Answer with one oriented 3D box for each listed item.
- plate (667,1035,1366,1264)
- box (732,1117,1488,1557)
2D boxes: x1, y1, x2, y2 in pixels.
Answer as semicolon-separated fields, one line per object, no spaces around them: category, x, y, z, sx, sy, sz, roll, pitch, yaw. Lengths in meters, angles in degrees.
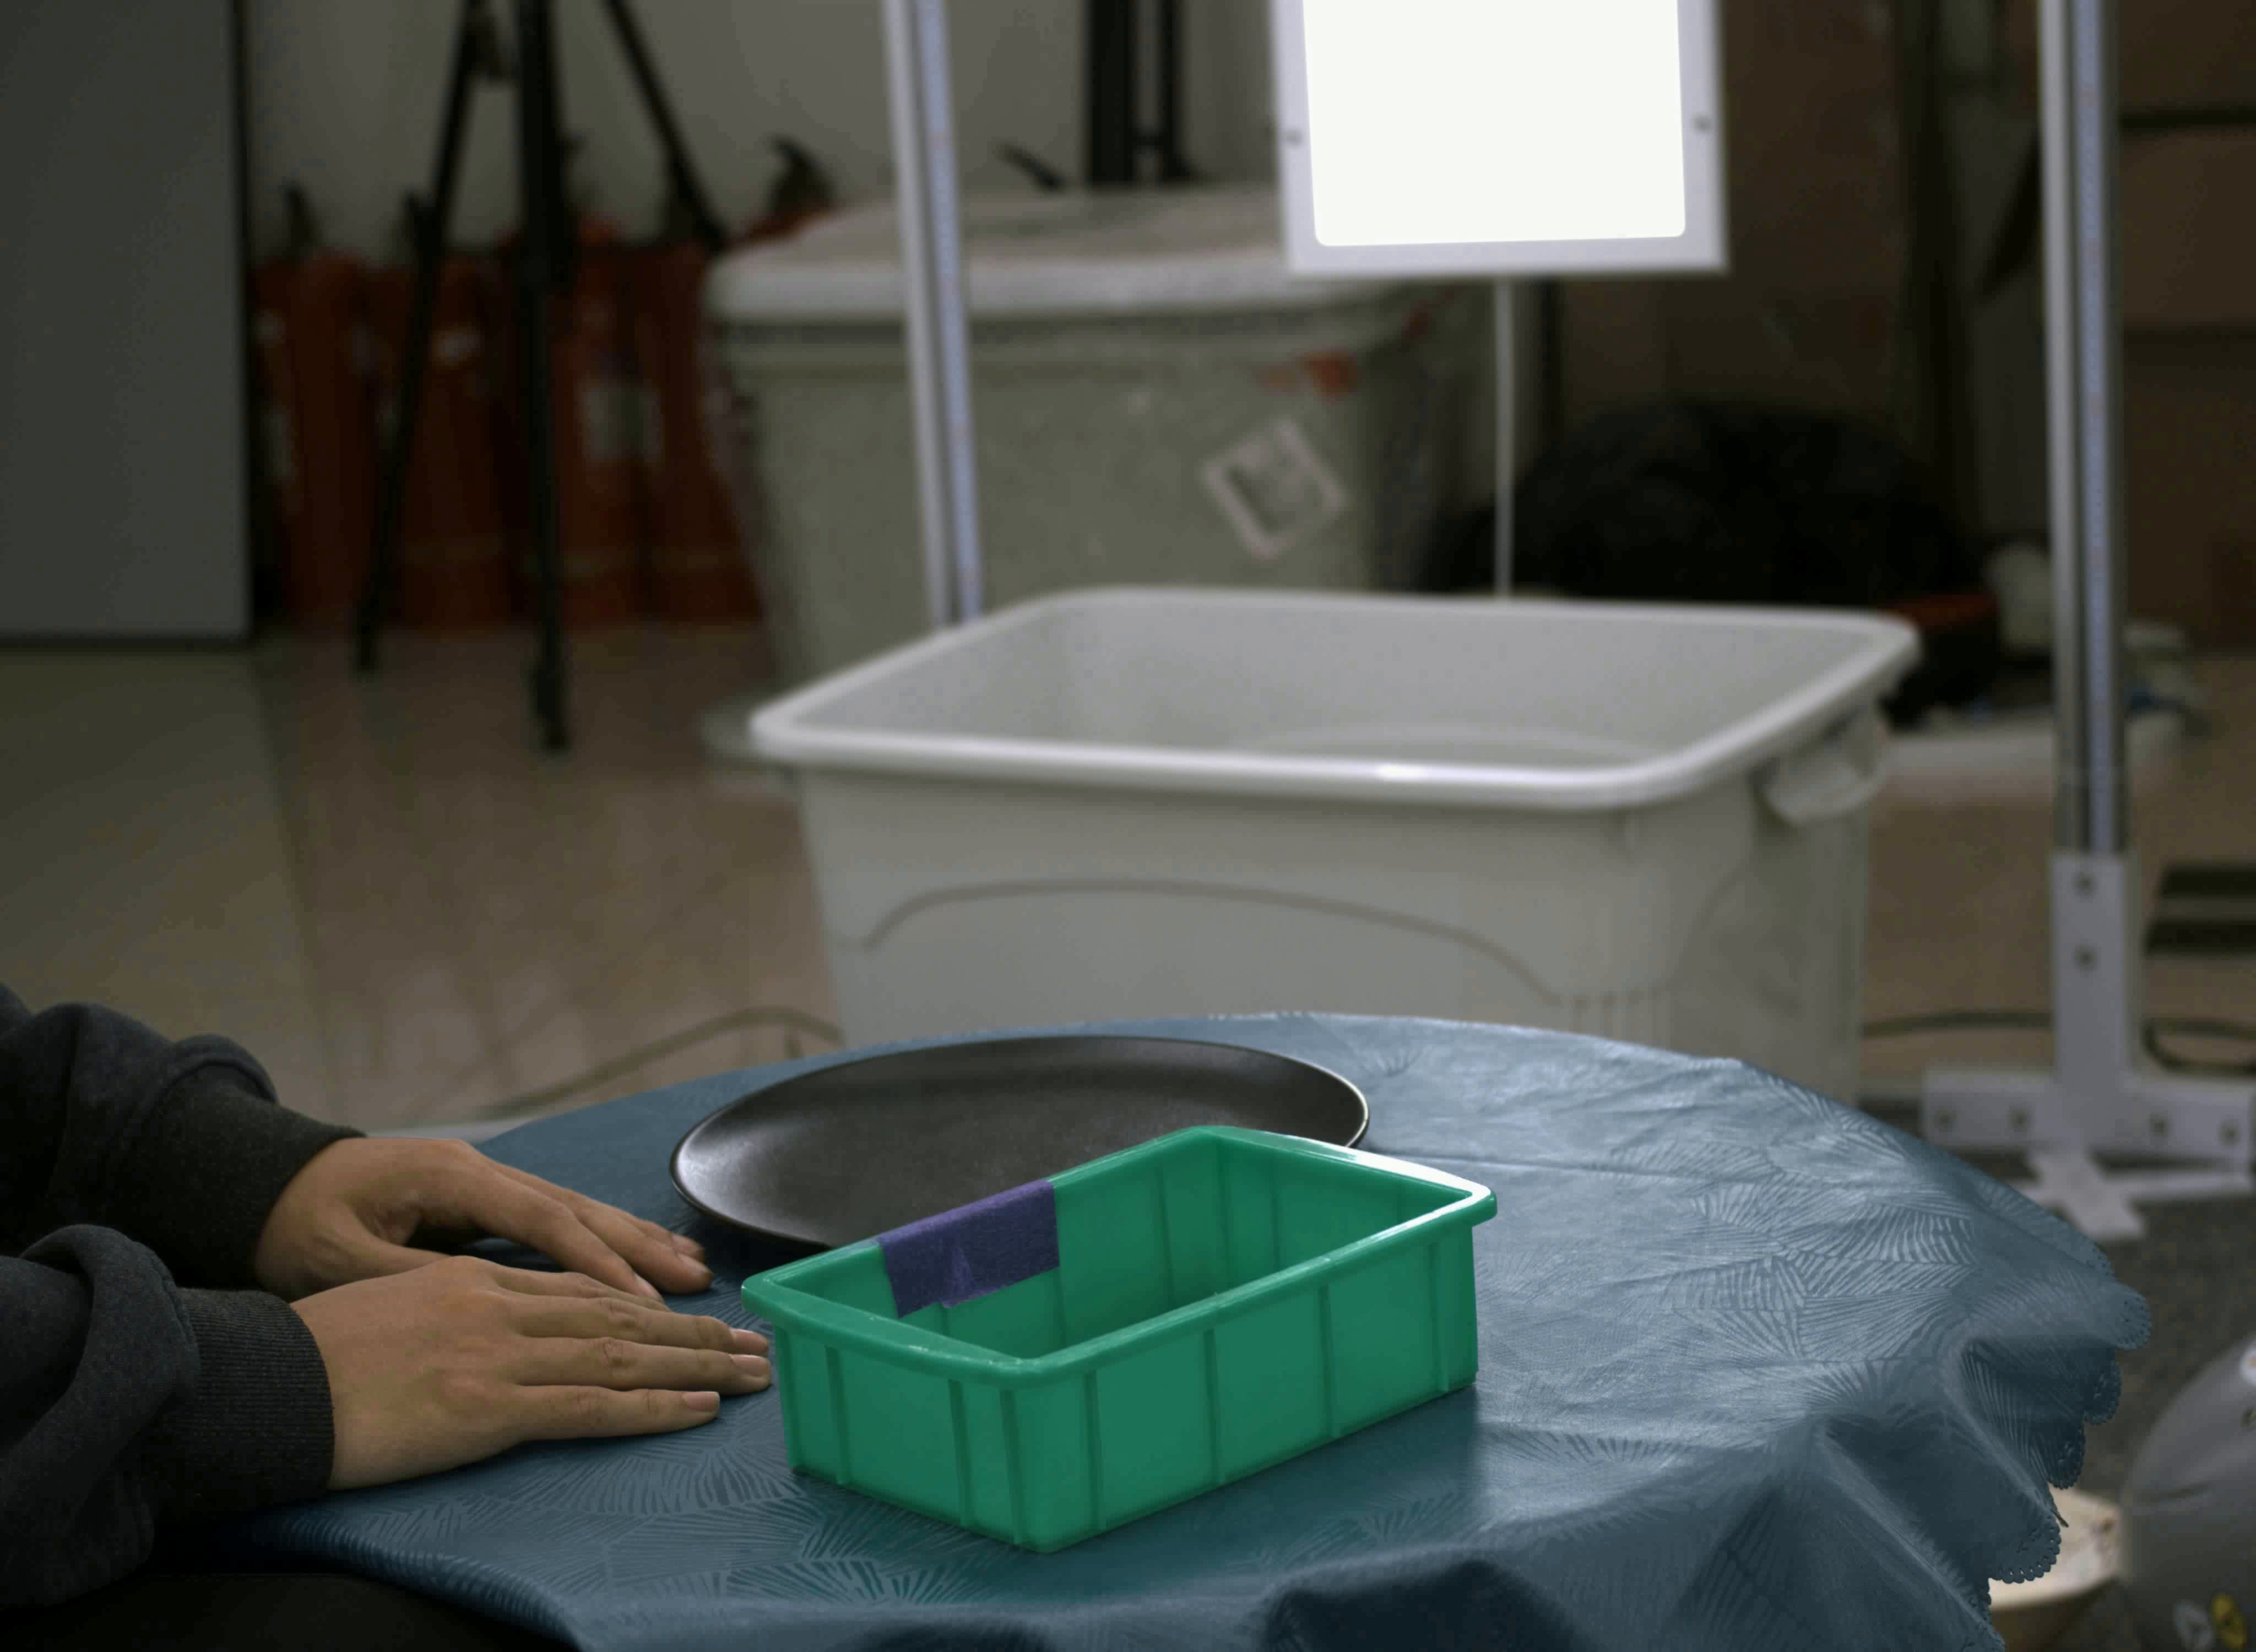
plate;-0.038;0.116;1.904;0.244;0.023;0.244;-5;14;0
box;-0.001;0.152;1.659;0.205;0.065;0.141;-19;18;-39
